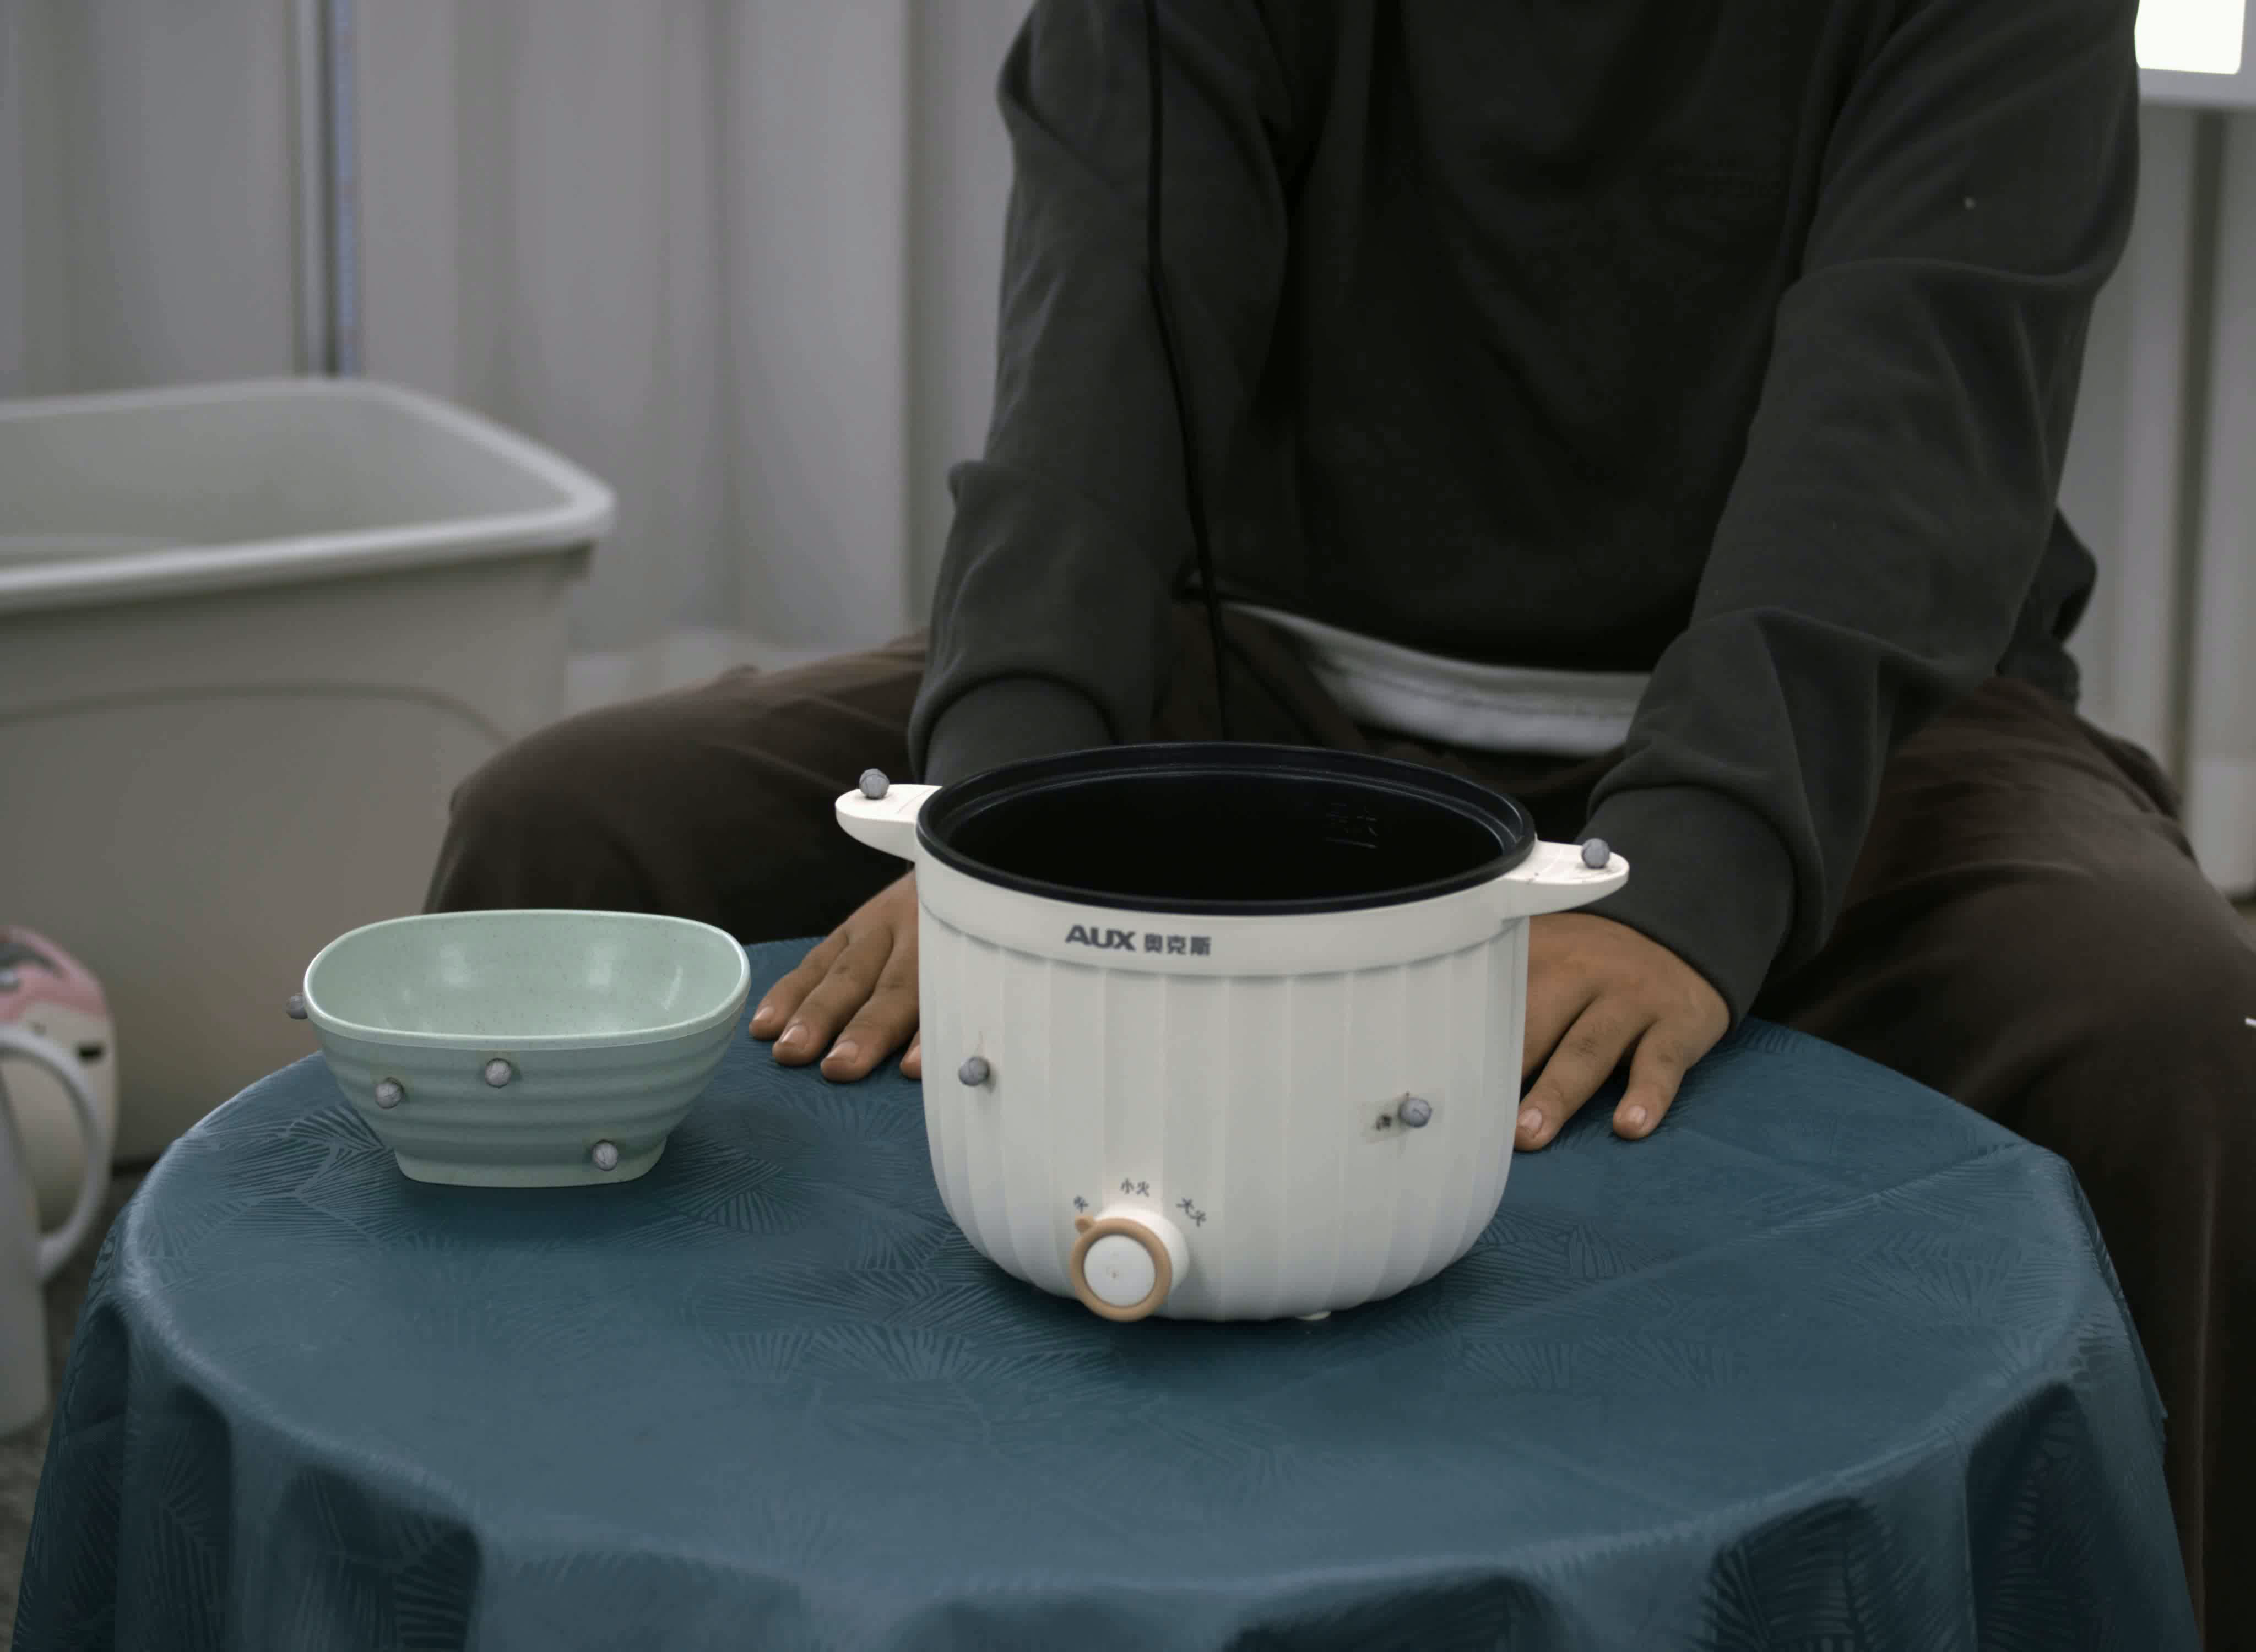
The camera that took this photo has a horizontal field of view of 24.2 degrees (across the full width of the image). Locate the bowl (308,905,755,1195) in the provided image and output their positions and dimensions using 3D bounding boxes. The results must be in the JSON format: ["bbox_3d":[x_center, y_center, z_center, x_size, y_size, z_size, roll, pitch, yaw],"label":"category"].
[{"bbox_3d":[-0.186,0.073,1.653,0.151,0.059,0.150,1,18,0],"label":"bowl"}]

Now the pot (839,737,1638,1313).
[{"bbox_3d":[0.030,0.061,1.548,0.238,0.143,0.190,3,13,15],"label":"pot"}]
